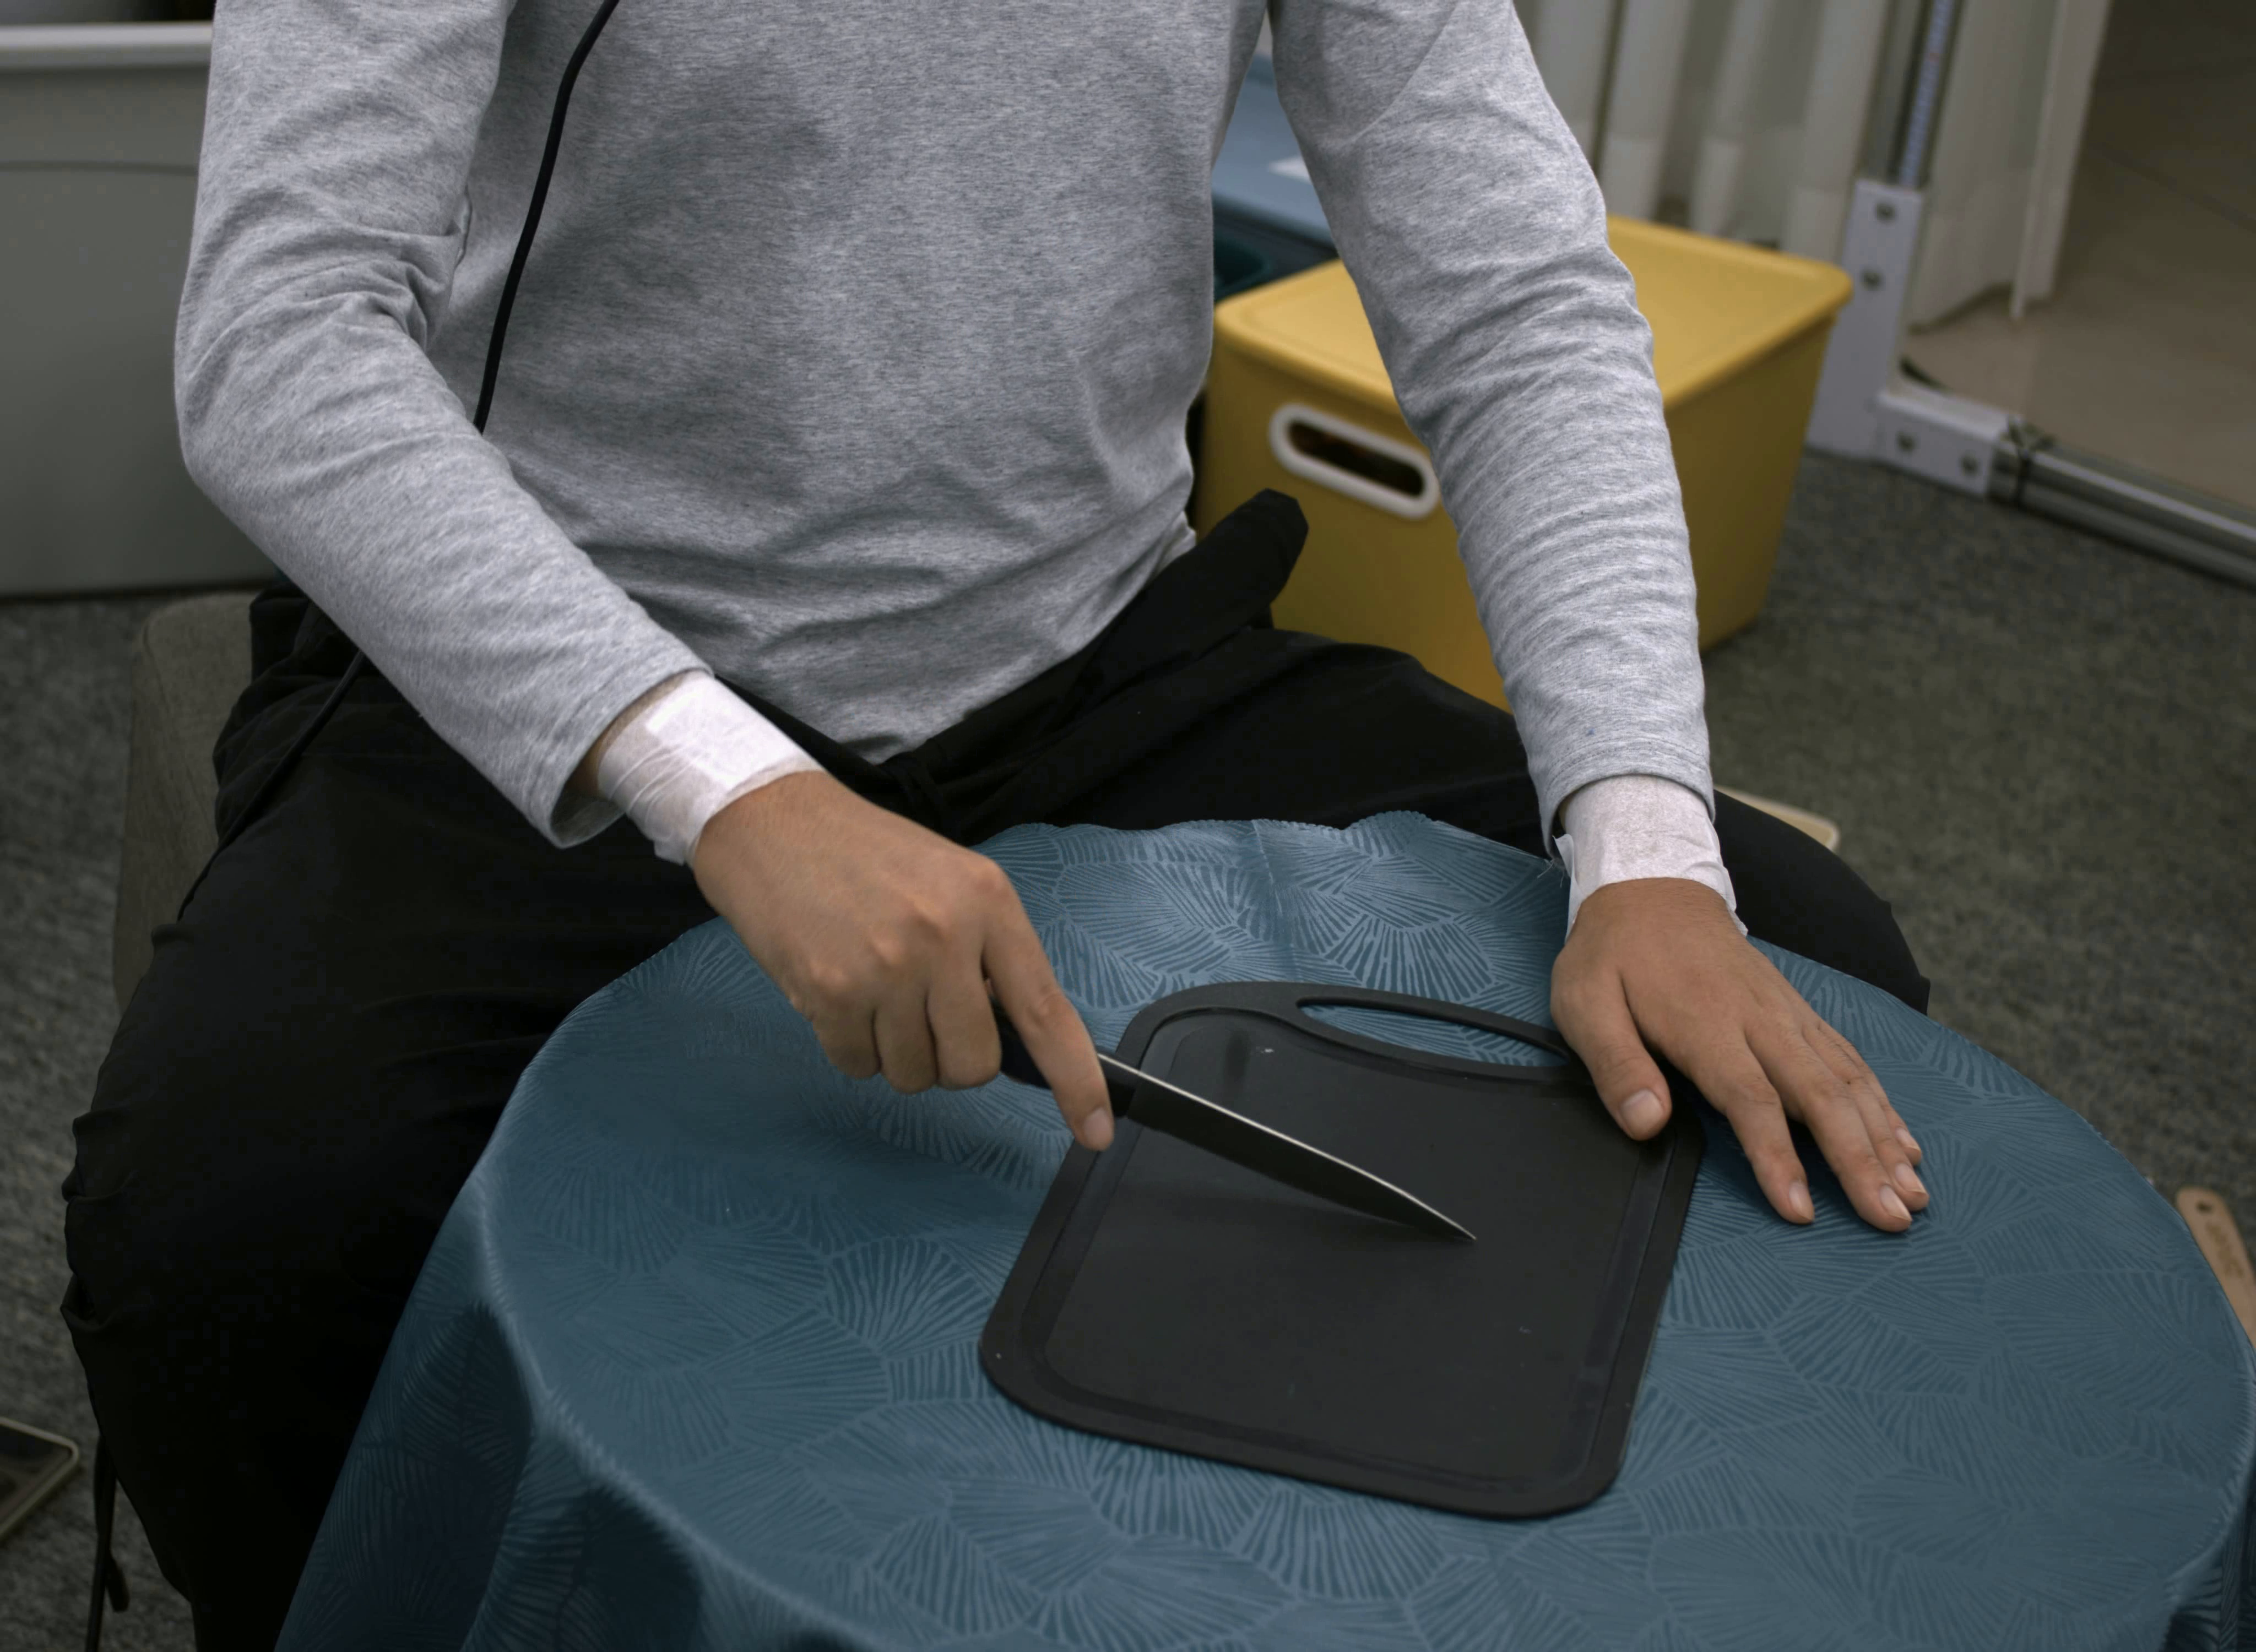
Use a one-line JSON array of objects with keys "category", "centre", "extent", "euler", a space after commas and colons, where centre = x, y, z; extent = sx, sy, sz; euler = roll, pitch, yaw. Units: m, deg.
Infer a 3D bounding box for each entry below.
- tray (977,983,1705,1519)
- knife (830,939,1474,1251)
[{"category": "tray", "centre": [0.079, 0.132, 1.801], "extent": [0.211, 0.010, 0.326], "euler": [11, 27, 9]}, {"category": "knife", "centre": [0.010, 0.092, 1.800], "extent": [0.238, 0.024, 0.016], "euler": [24, 39, 2]}]
